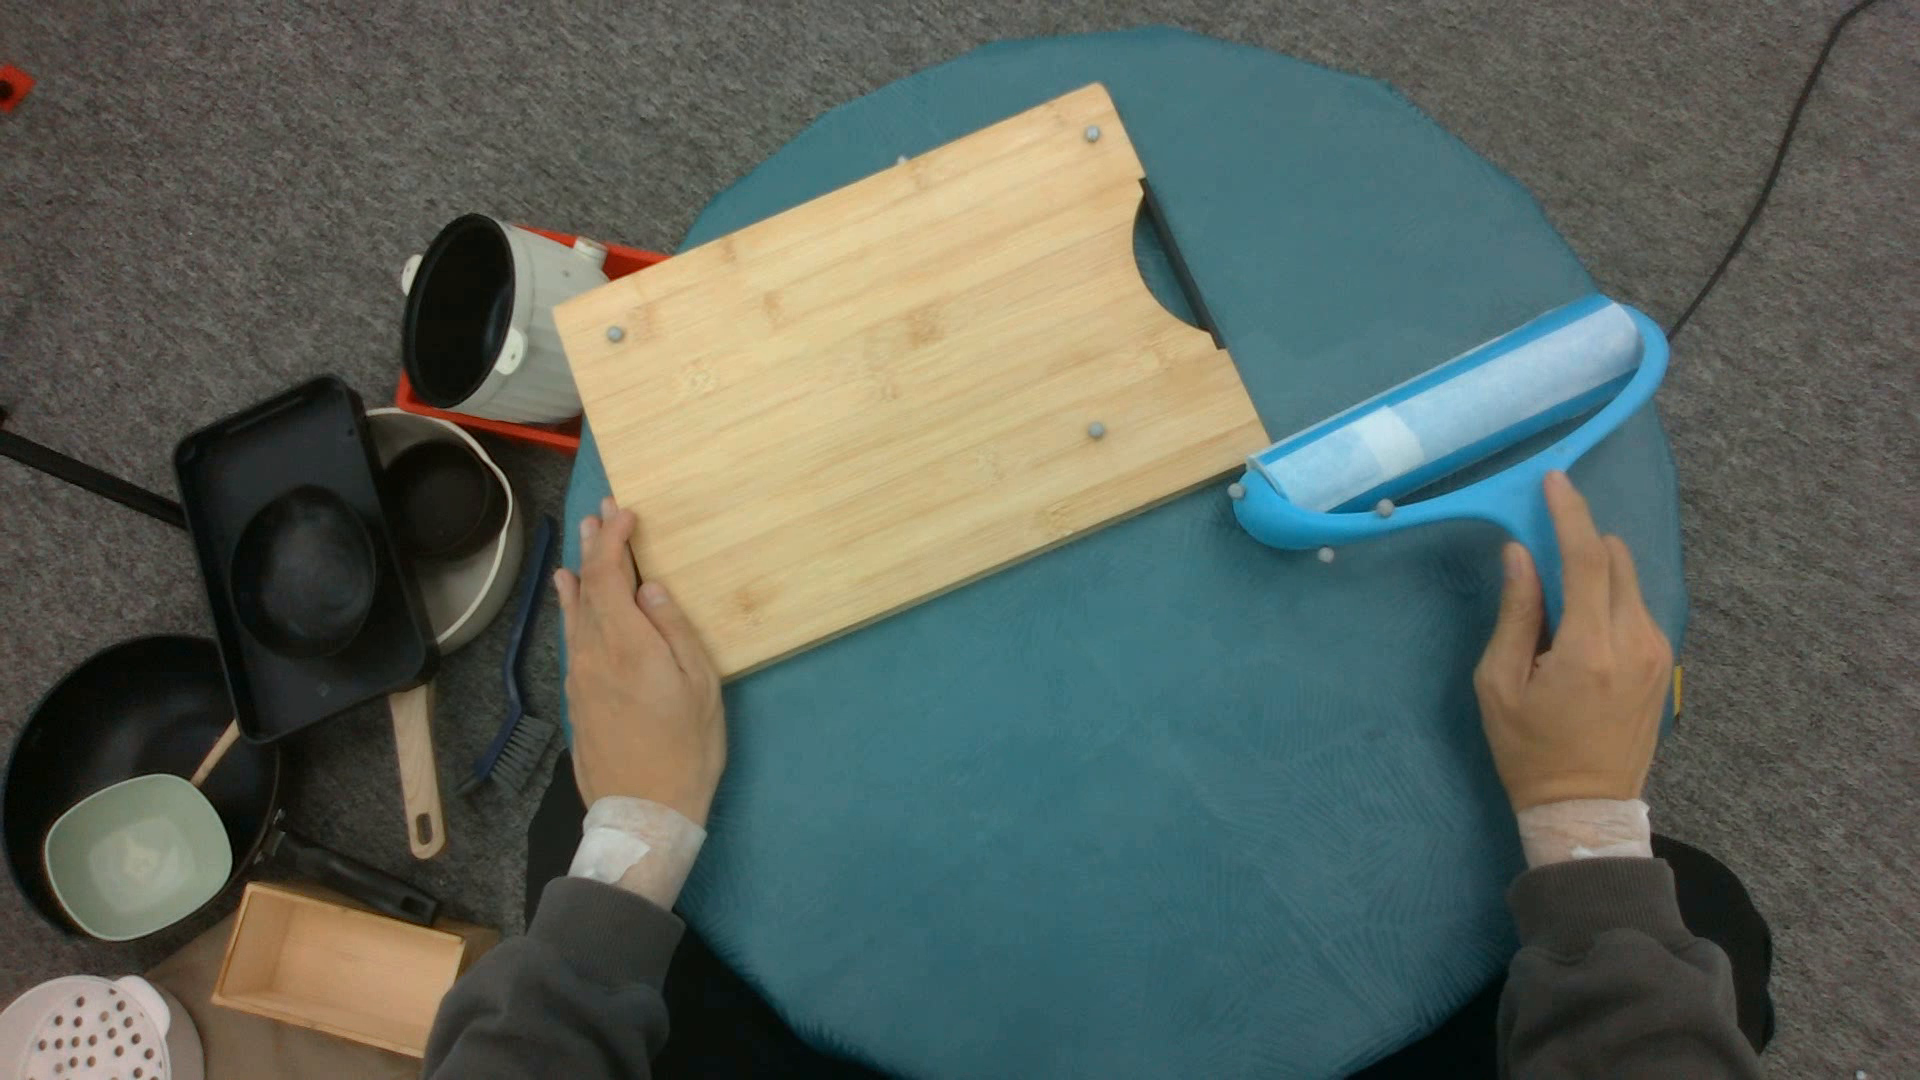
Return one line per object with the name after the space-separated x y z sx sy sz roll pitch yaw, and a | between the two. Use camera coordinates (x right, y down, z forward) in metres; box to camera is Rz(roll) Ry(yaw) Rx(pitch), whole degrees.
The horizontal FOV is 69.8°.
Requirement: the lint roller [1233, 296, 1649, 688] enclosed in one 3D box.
0.275 -0.012 0.698 0.229 0.068 0.180 -29 68 -2 | lint roller

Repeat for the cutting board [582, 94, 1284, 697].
-0.024 -0.086 0.780 0.348 0.023 0.251 -23 75 1 | cutting board
